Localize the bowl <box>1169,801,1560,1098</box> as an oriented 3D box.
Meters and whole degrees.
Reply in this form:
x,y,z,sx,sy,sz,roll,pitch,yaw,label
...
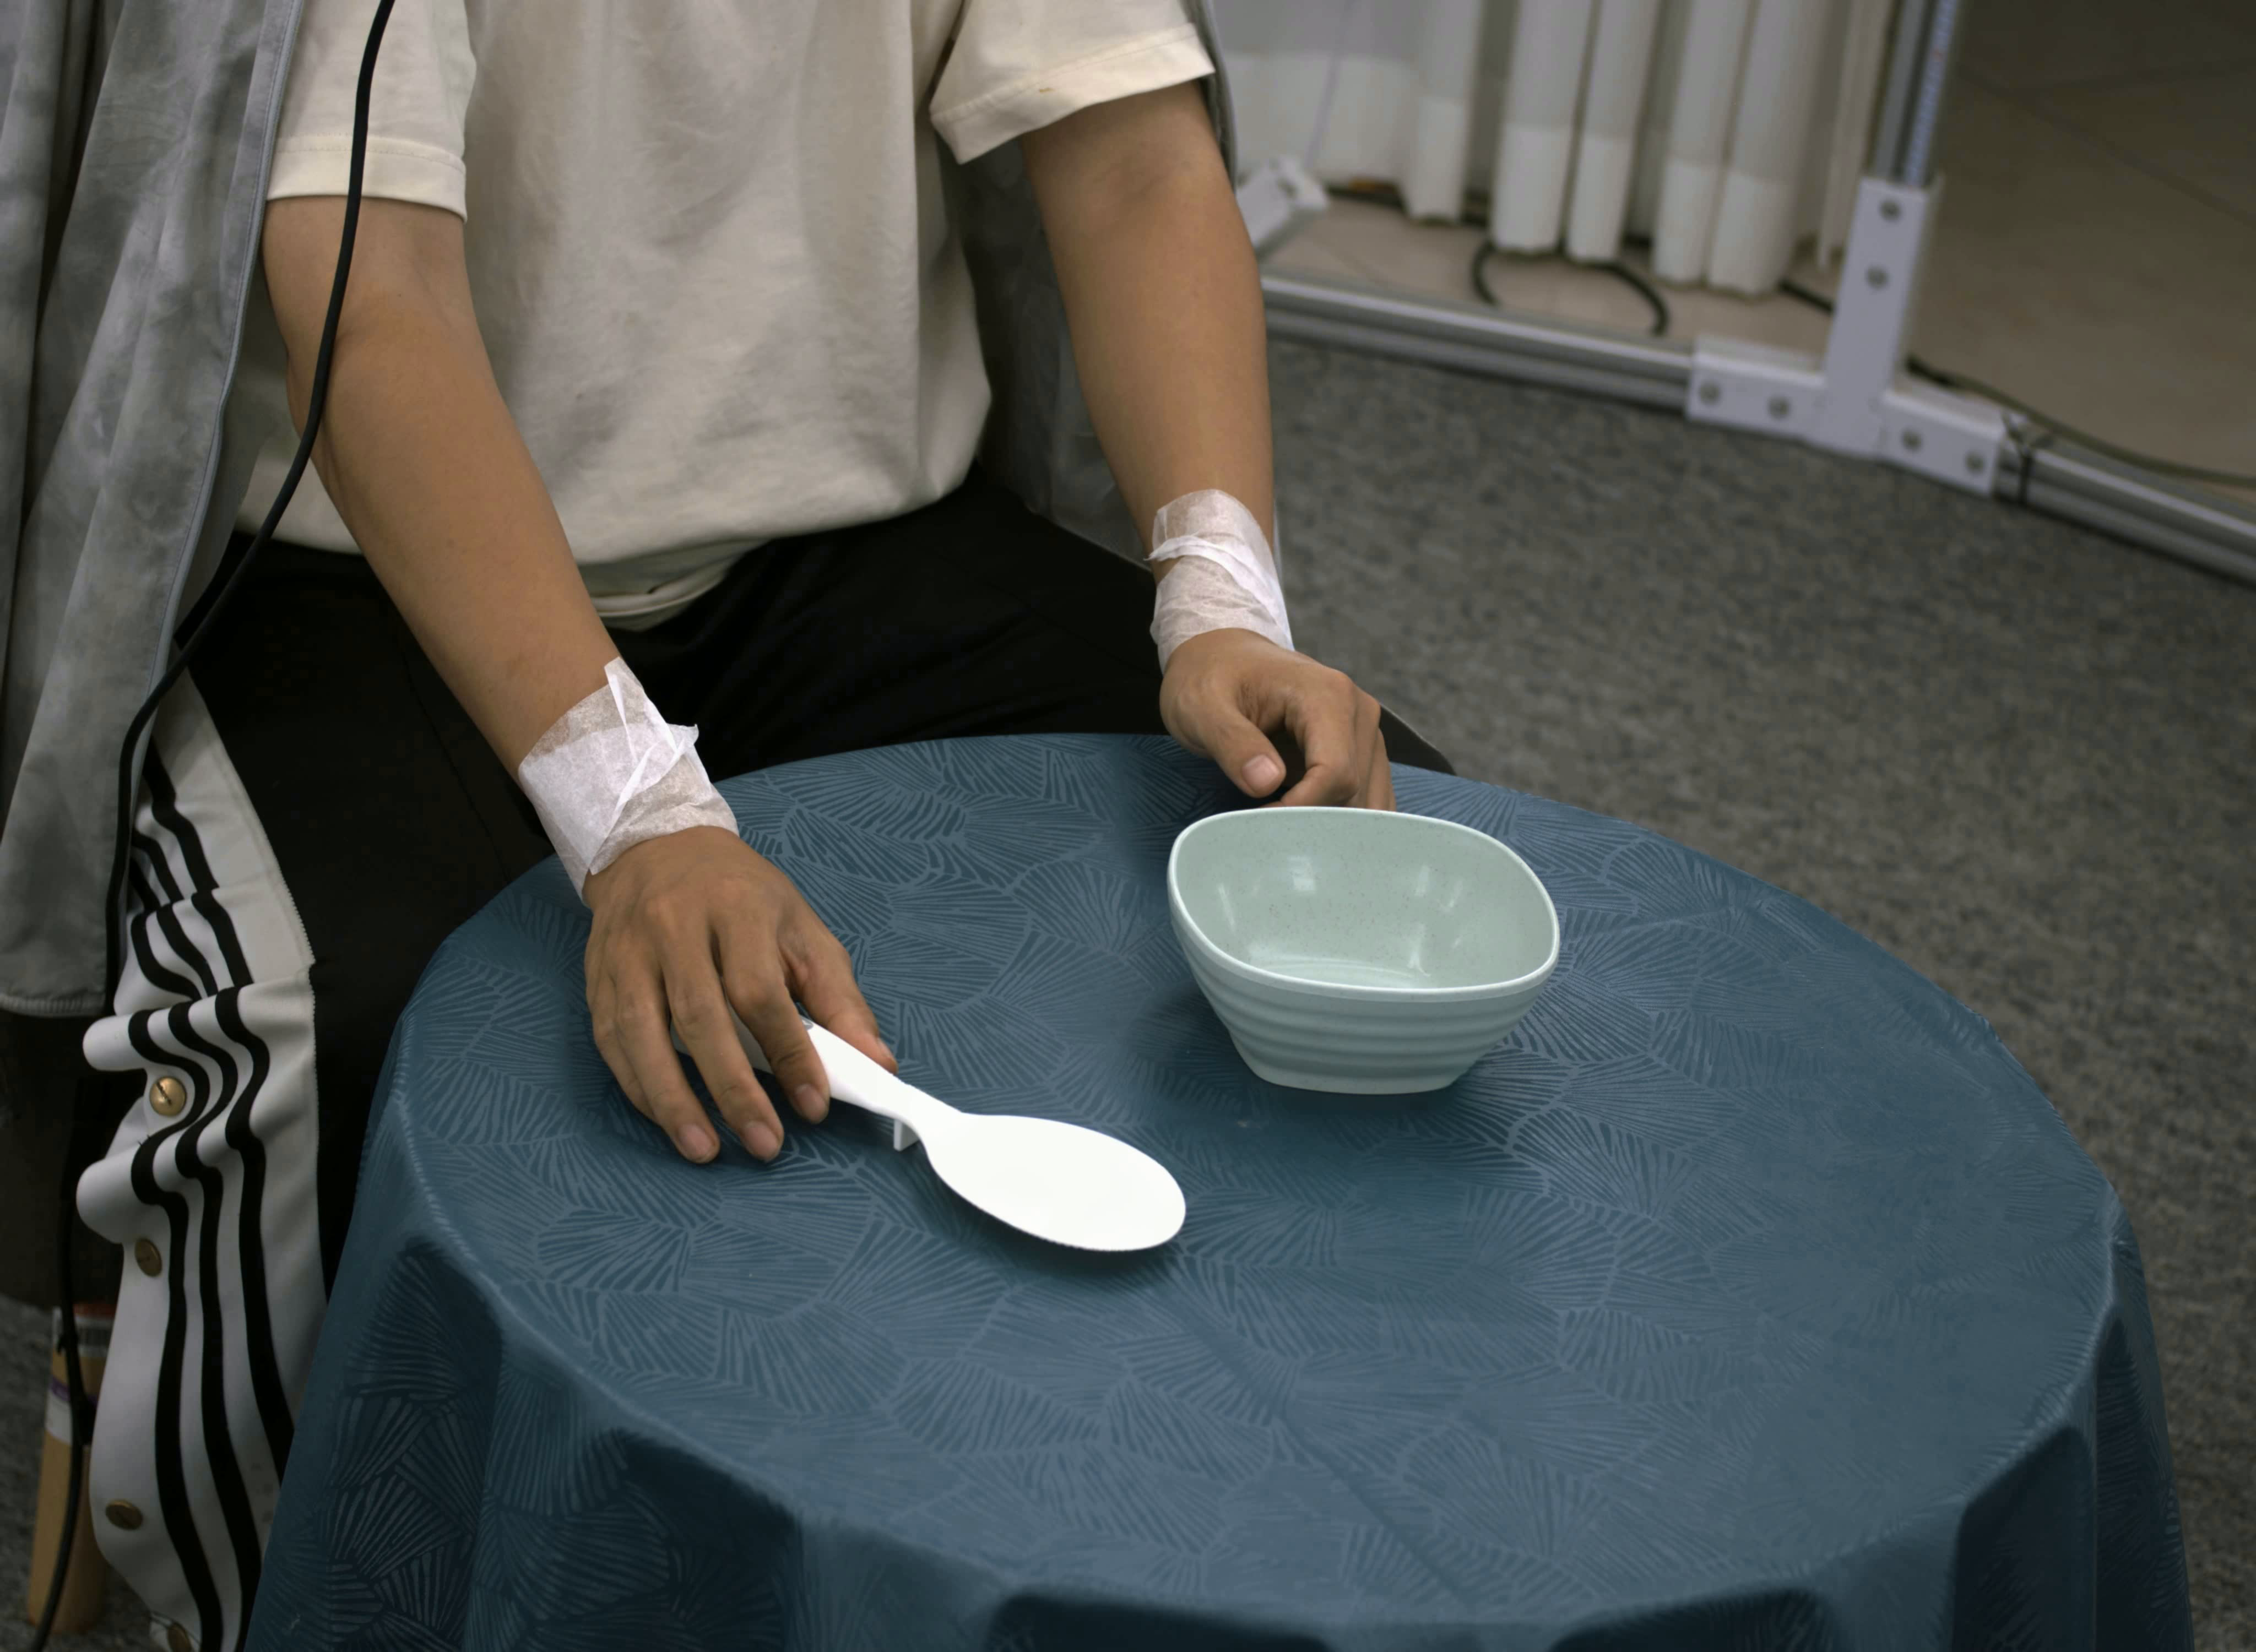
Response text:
x,y,z,sx,sy,sz,roll,pitch,yaw,label
0.081,0.050,1.905,0.151,0.058,0.152,5,29,-3,bowl

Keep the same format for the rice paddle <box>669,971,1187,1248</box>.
x,y,z,sx,sy,sz,roll,pitch,yaw,label
-0.068,0.098,1.808,0.206,0.029,0.068,23,33,29,rice paddle
